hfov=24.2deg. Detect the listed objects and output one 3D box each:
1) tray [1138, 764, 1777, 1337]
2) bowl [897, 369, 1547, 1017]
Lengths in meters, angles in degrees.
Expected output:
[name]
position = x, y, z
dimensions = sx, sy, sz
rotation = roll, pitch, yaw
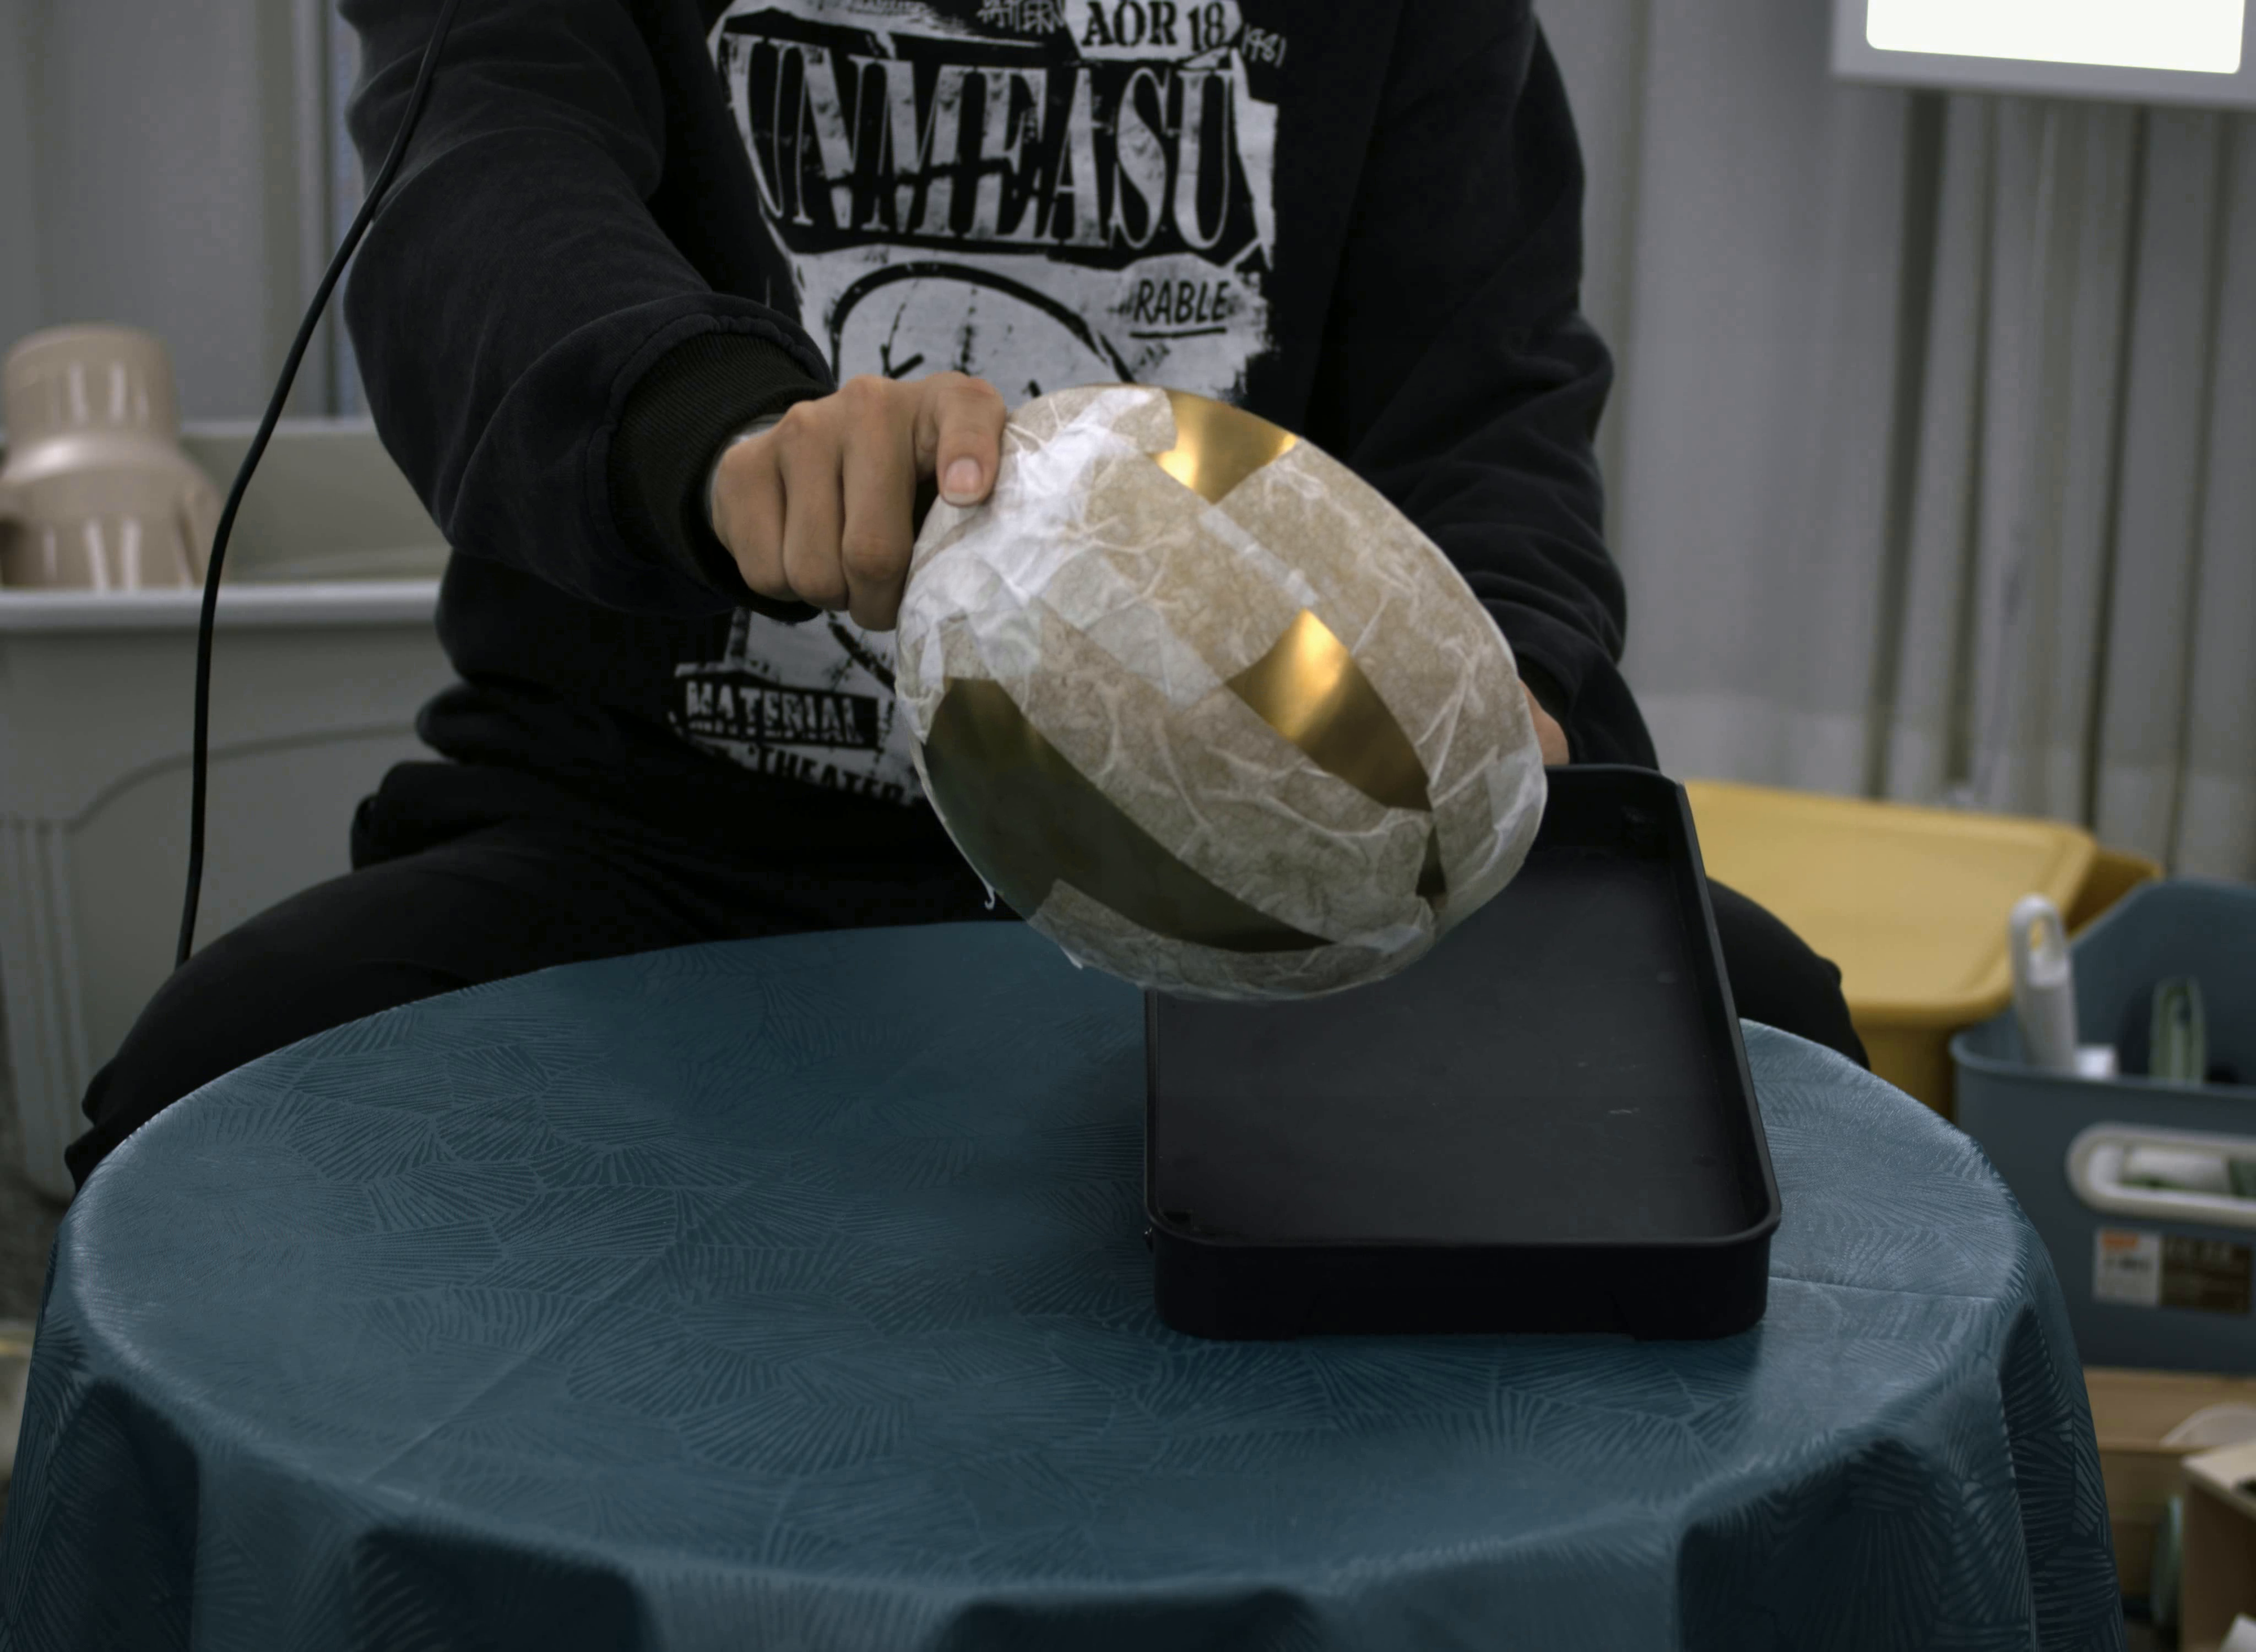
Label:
[tray]
position = 0.096, 0.063, 1.635
dimensions = 0.183, 0.037, 0.315
rotation = -1, 26, 1
[bowl]
position = 0.008, -0.017, 1.502
dimensions = 0.212, 0.218, 0.094
rotation = 12, 47, 34
